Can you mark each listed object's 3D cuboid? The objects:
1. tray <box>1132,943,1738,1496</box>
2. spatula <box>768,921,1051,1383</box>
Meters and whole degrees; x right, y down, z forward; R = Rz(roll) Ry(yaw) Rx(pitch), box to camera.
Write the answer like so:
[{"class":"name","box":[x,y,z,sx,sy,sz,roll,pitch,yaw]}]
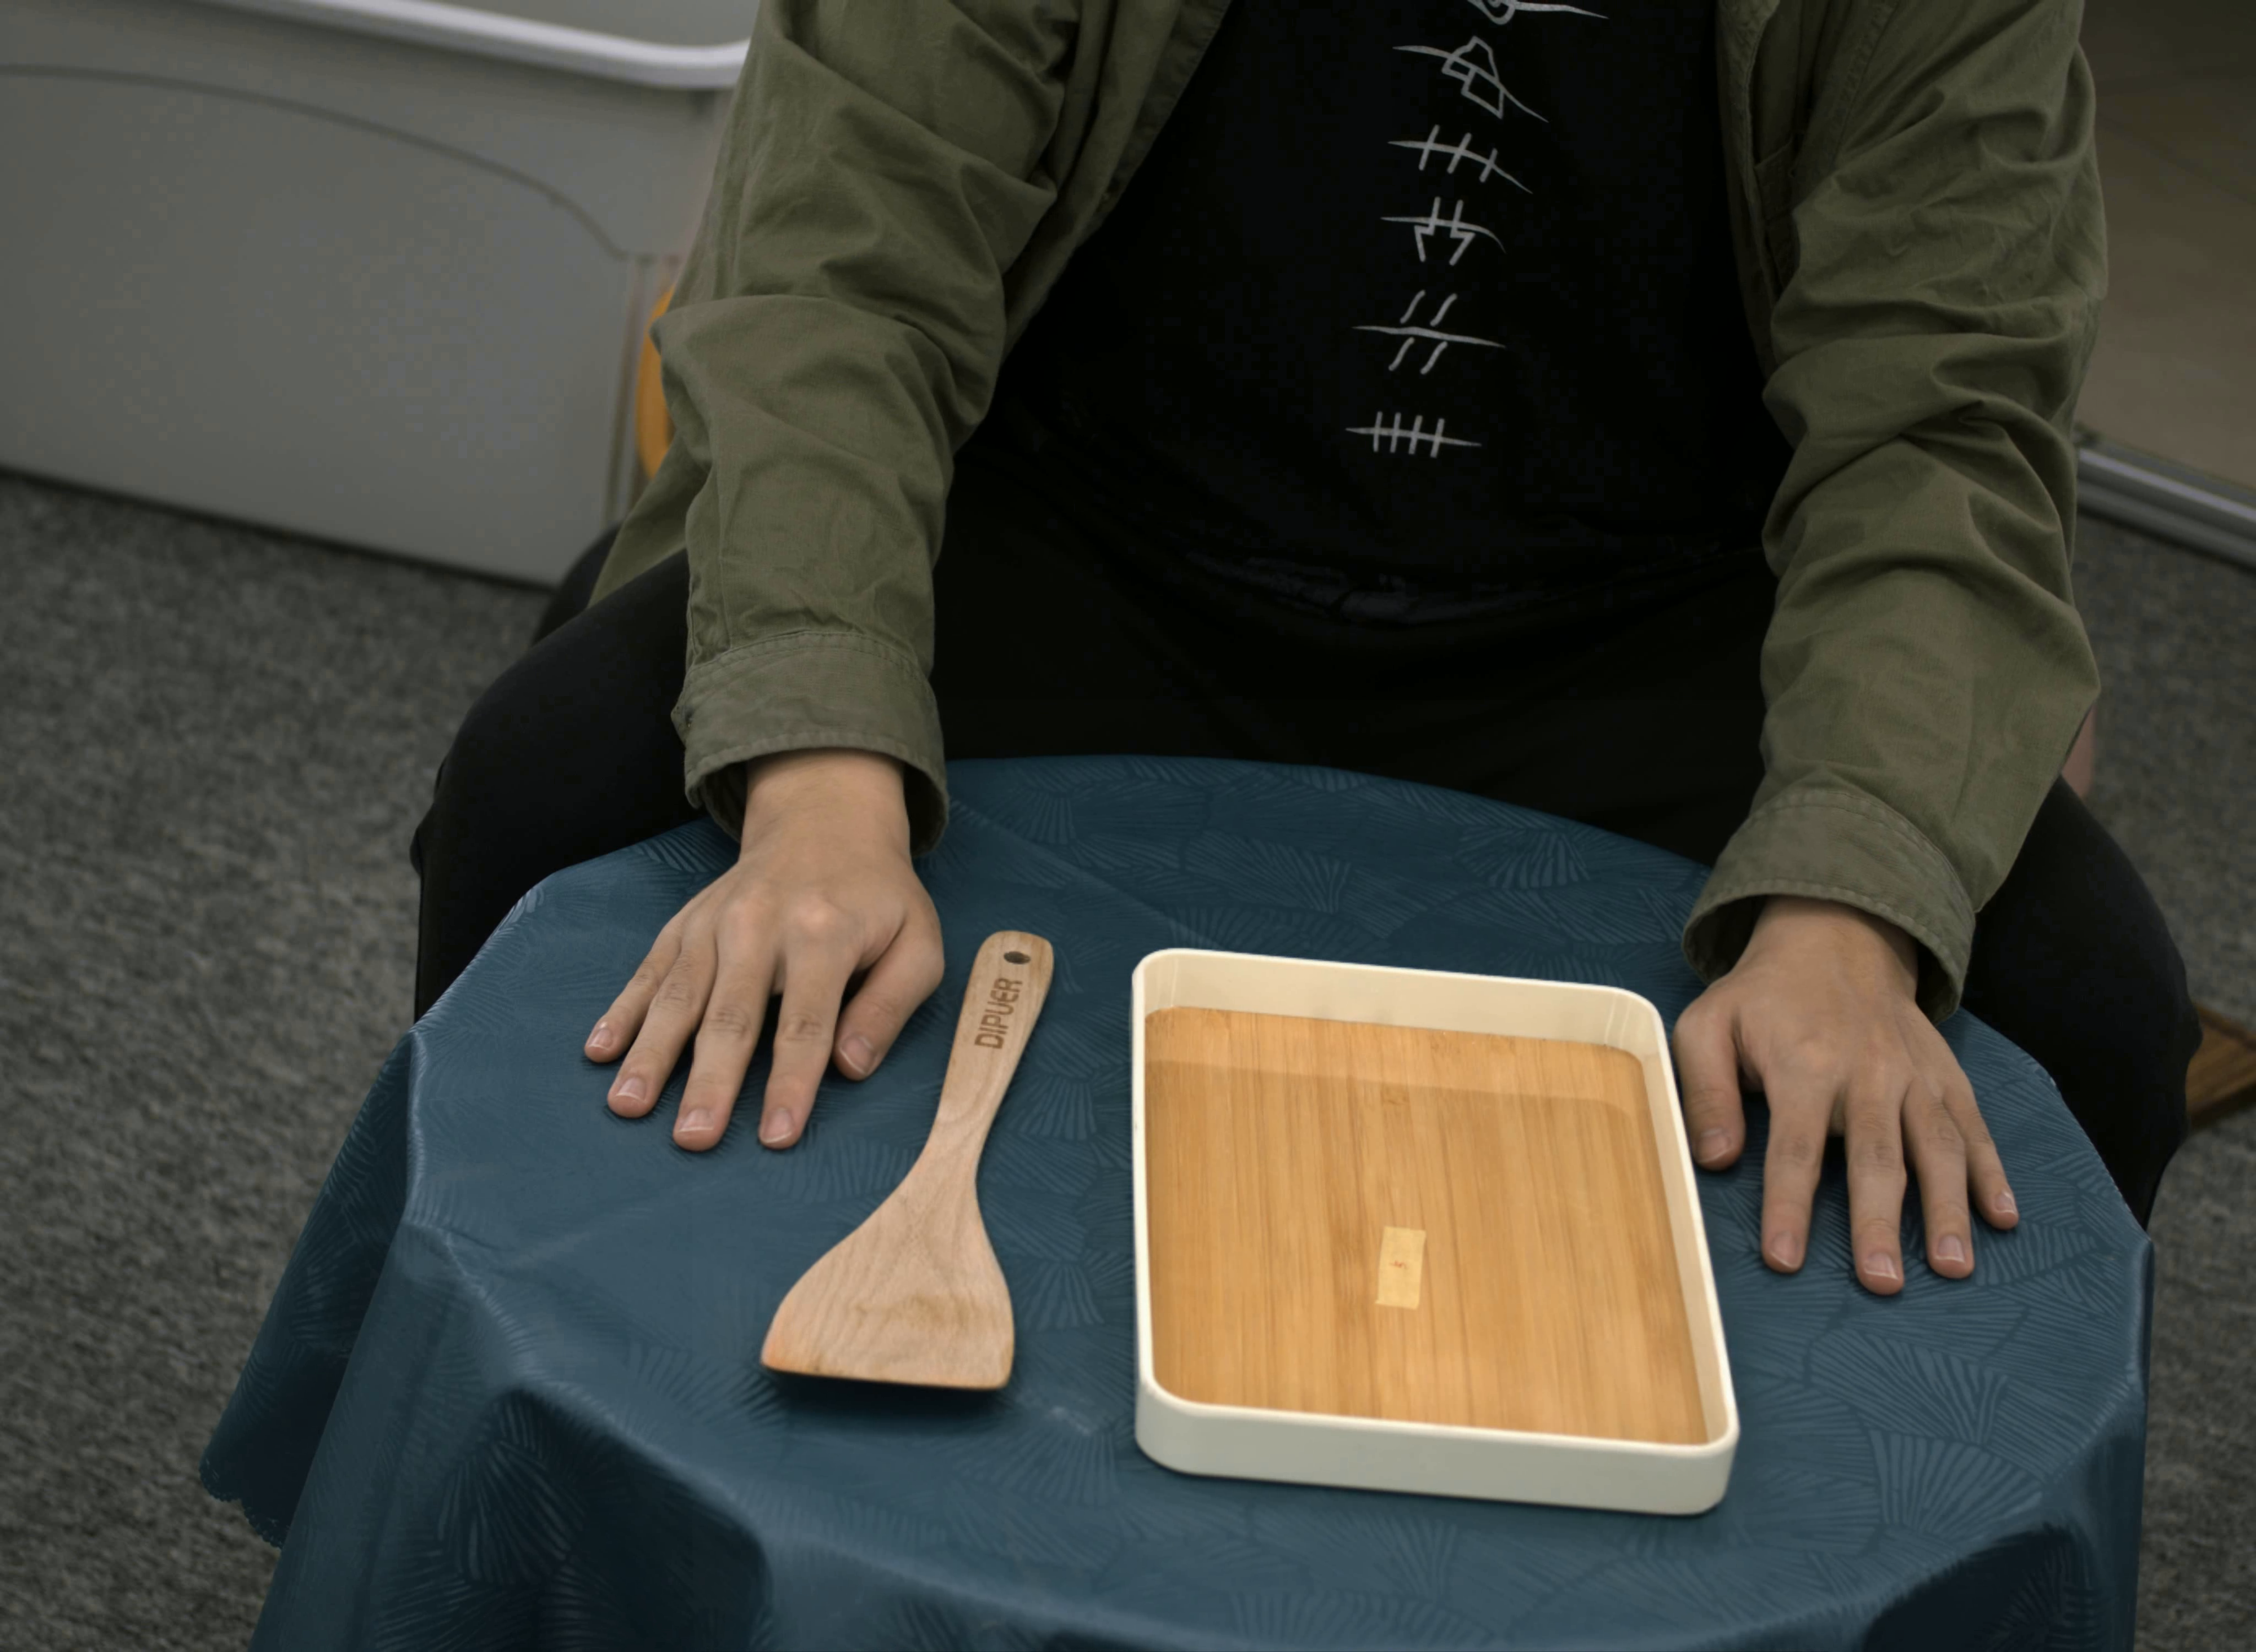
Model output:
[{"class":"tray","box":[0.096,0.126,1.783,0.191,0.027,0.302,6,26,-2]},{"class":"spatula","box":[-0.057,0.106,1.803,0.080,0.016,0.329,9,27,3]}]
